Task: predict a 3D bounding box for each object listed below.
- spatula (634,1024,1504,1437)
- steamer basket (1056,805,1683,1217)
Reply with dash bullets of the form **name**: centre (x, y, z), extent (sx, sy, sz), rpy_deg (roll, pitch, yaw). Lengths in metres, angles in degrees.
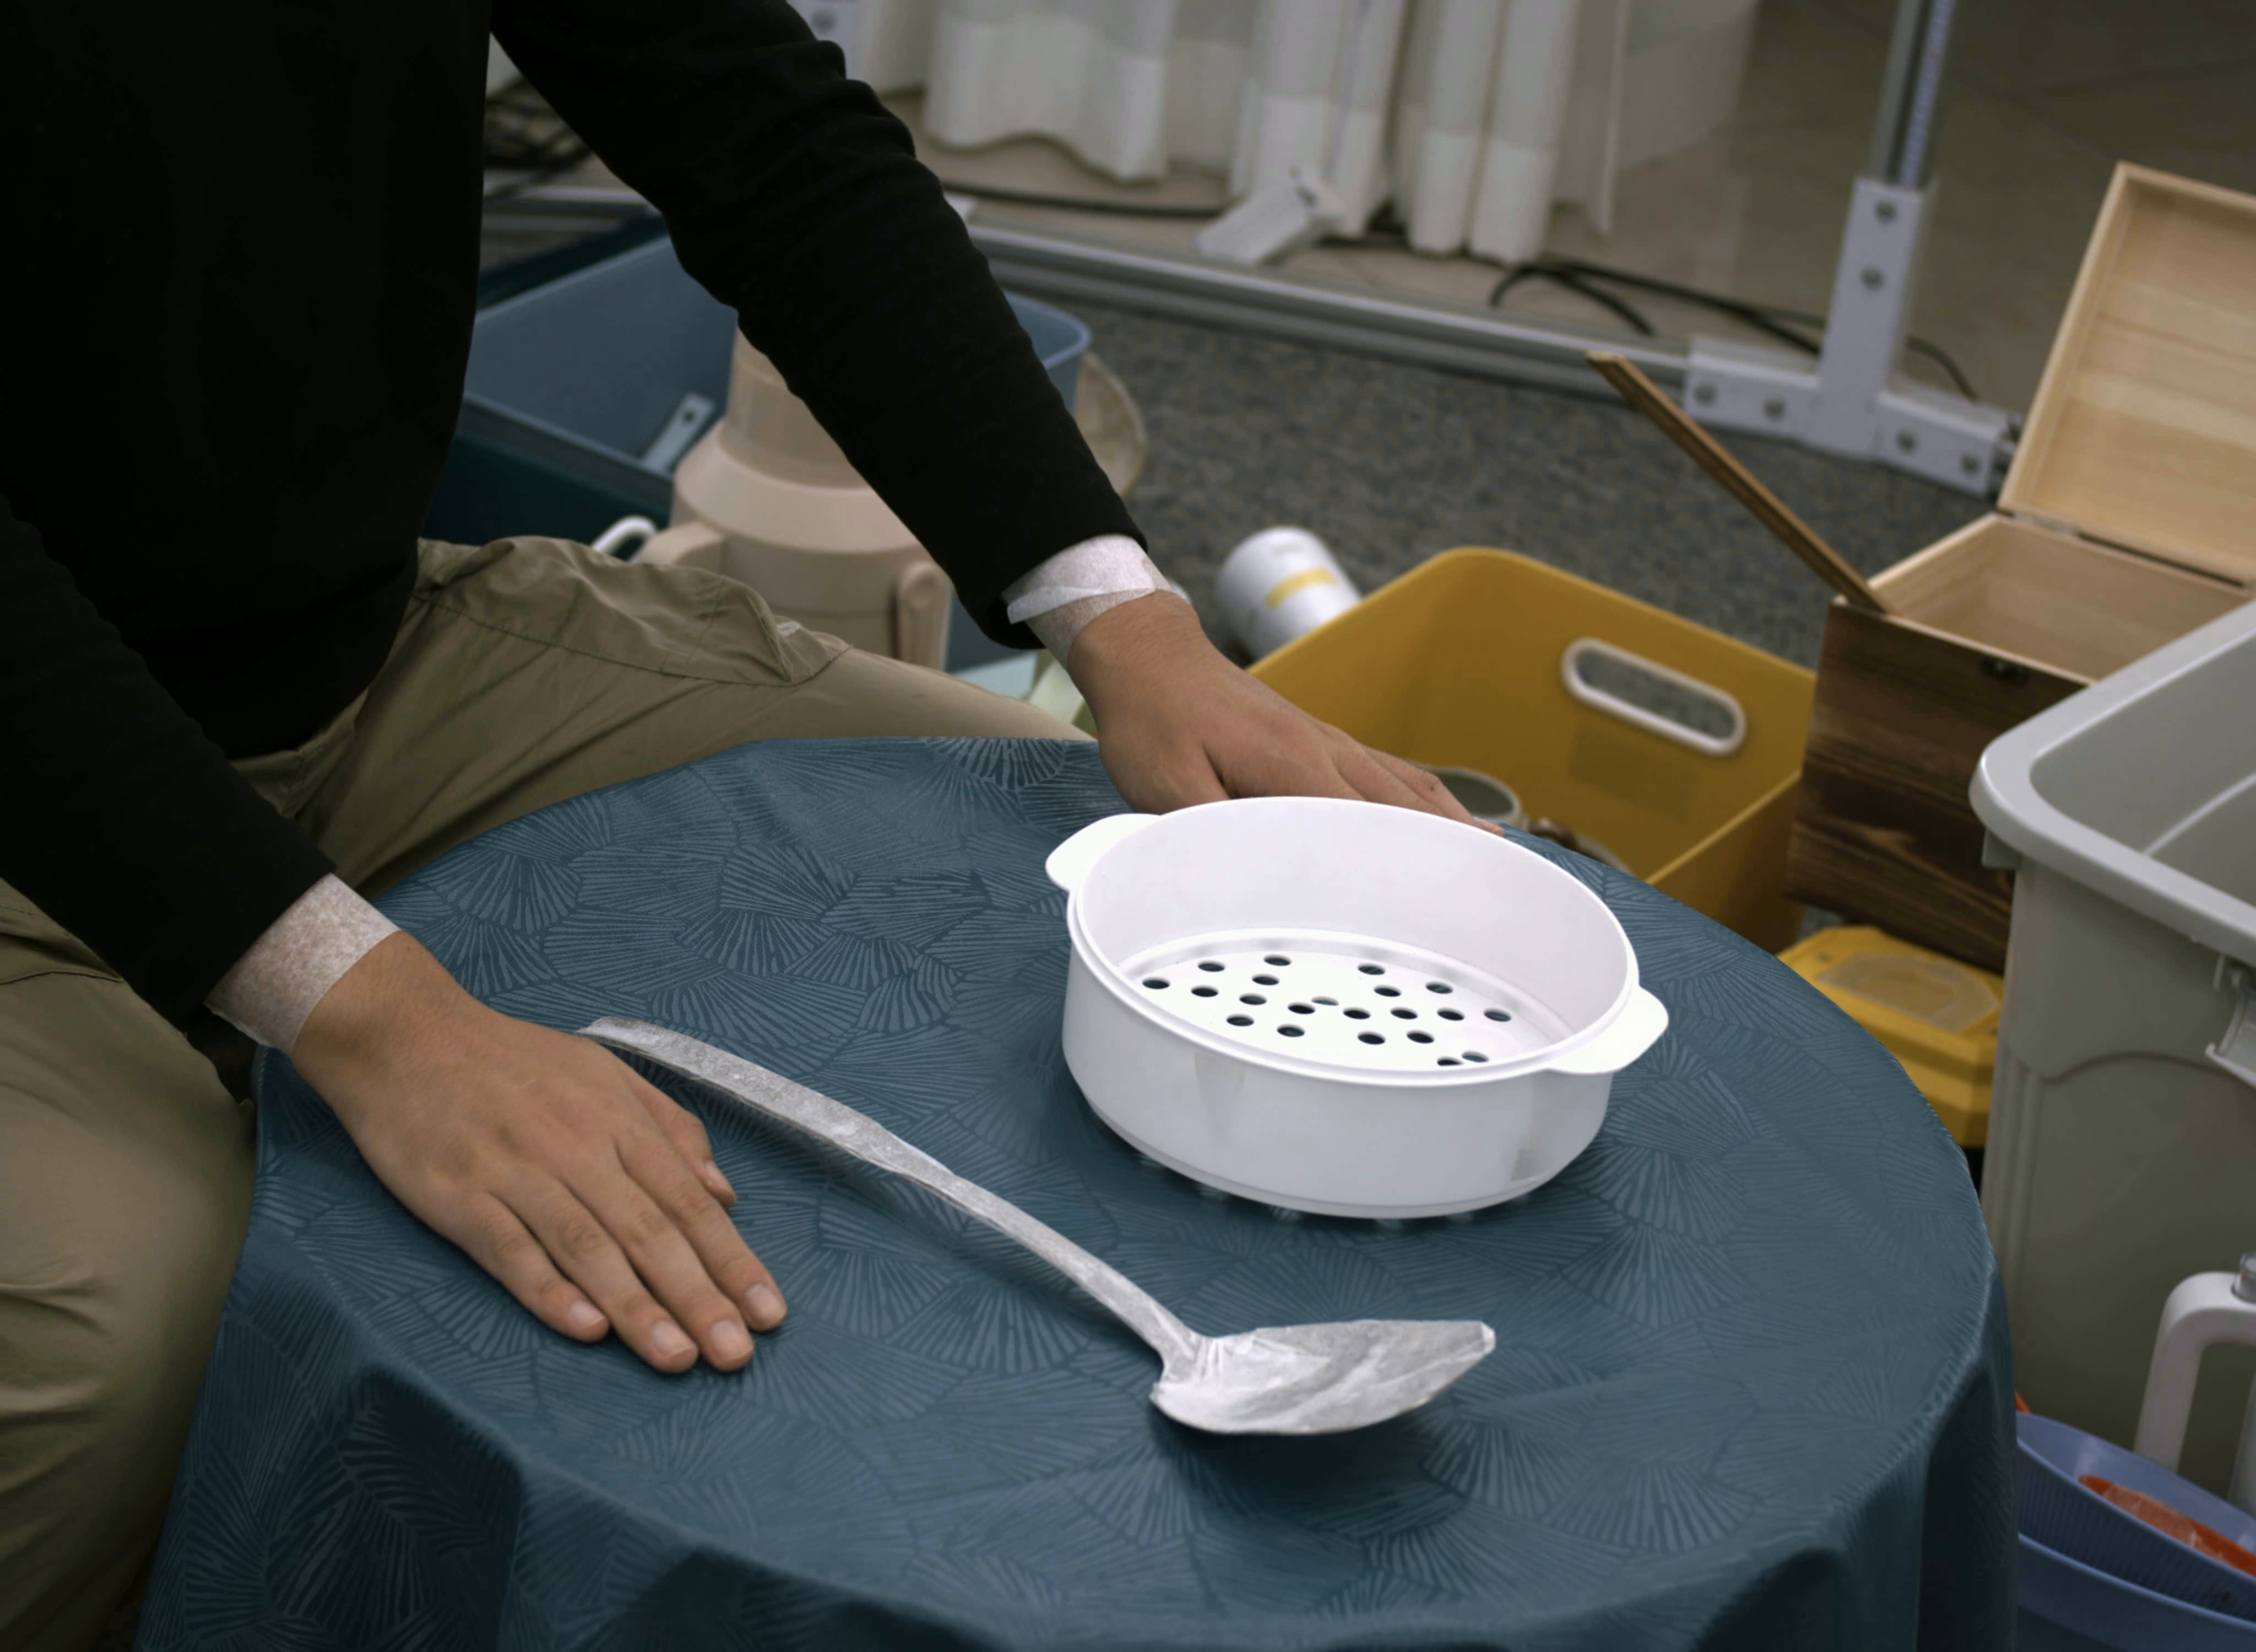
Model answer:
- **spatula**: centre (-0.040, 0.124, 1.750), extent (0.367, 0.044, 0.098), rpy_deg (27, 35, 34)
- **steamer basket**: centre (0.079, 0.065, 1.858), extent (0.231, 0.069, 0.201), rpy_deg (19, 28, 25)
